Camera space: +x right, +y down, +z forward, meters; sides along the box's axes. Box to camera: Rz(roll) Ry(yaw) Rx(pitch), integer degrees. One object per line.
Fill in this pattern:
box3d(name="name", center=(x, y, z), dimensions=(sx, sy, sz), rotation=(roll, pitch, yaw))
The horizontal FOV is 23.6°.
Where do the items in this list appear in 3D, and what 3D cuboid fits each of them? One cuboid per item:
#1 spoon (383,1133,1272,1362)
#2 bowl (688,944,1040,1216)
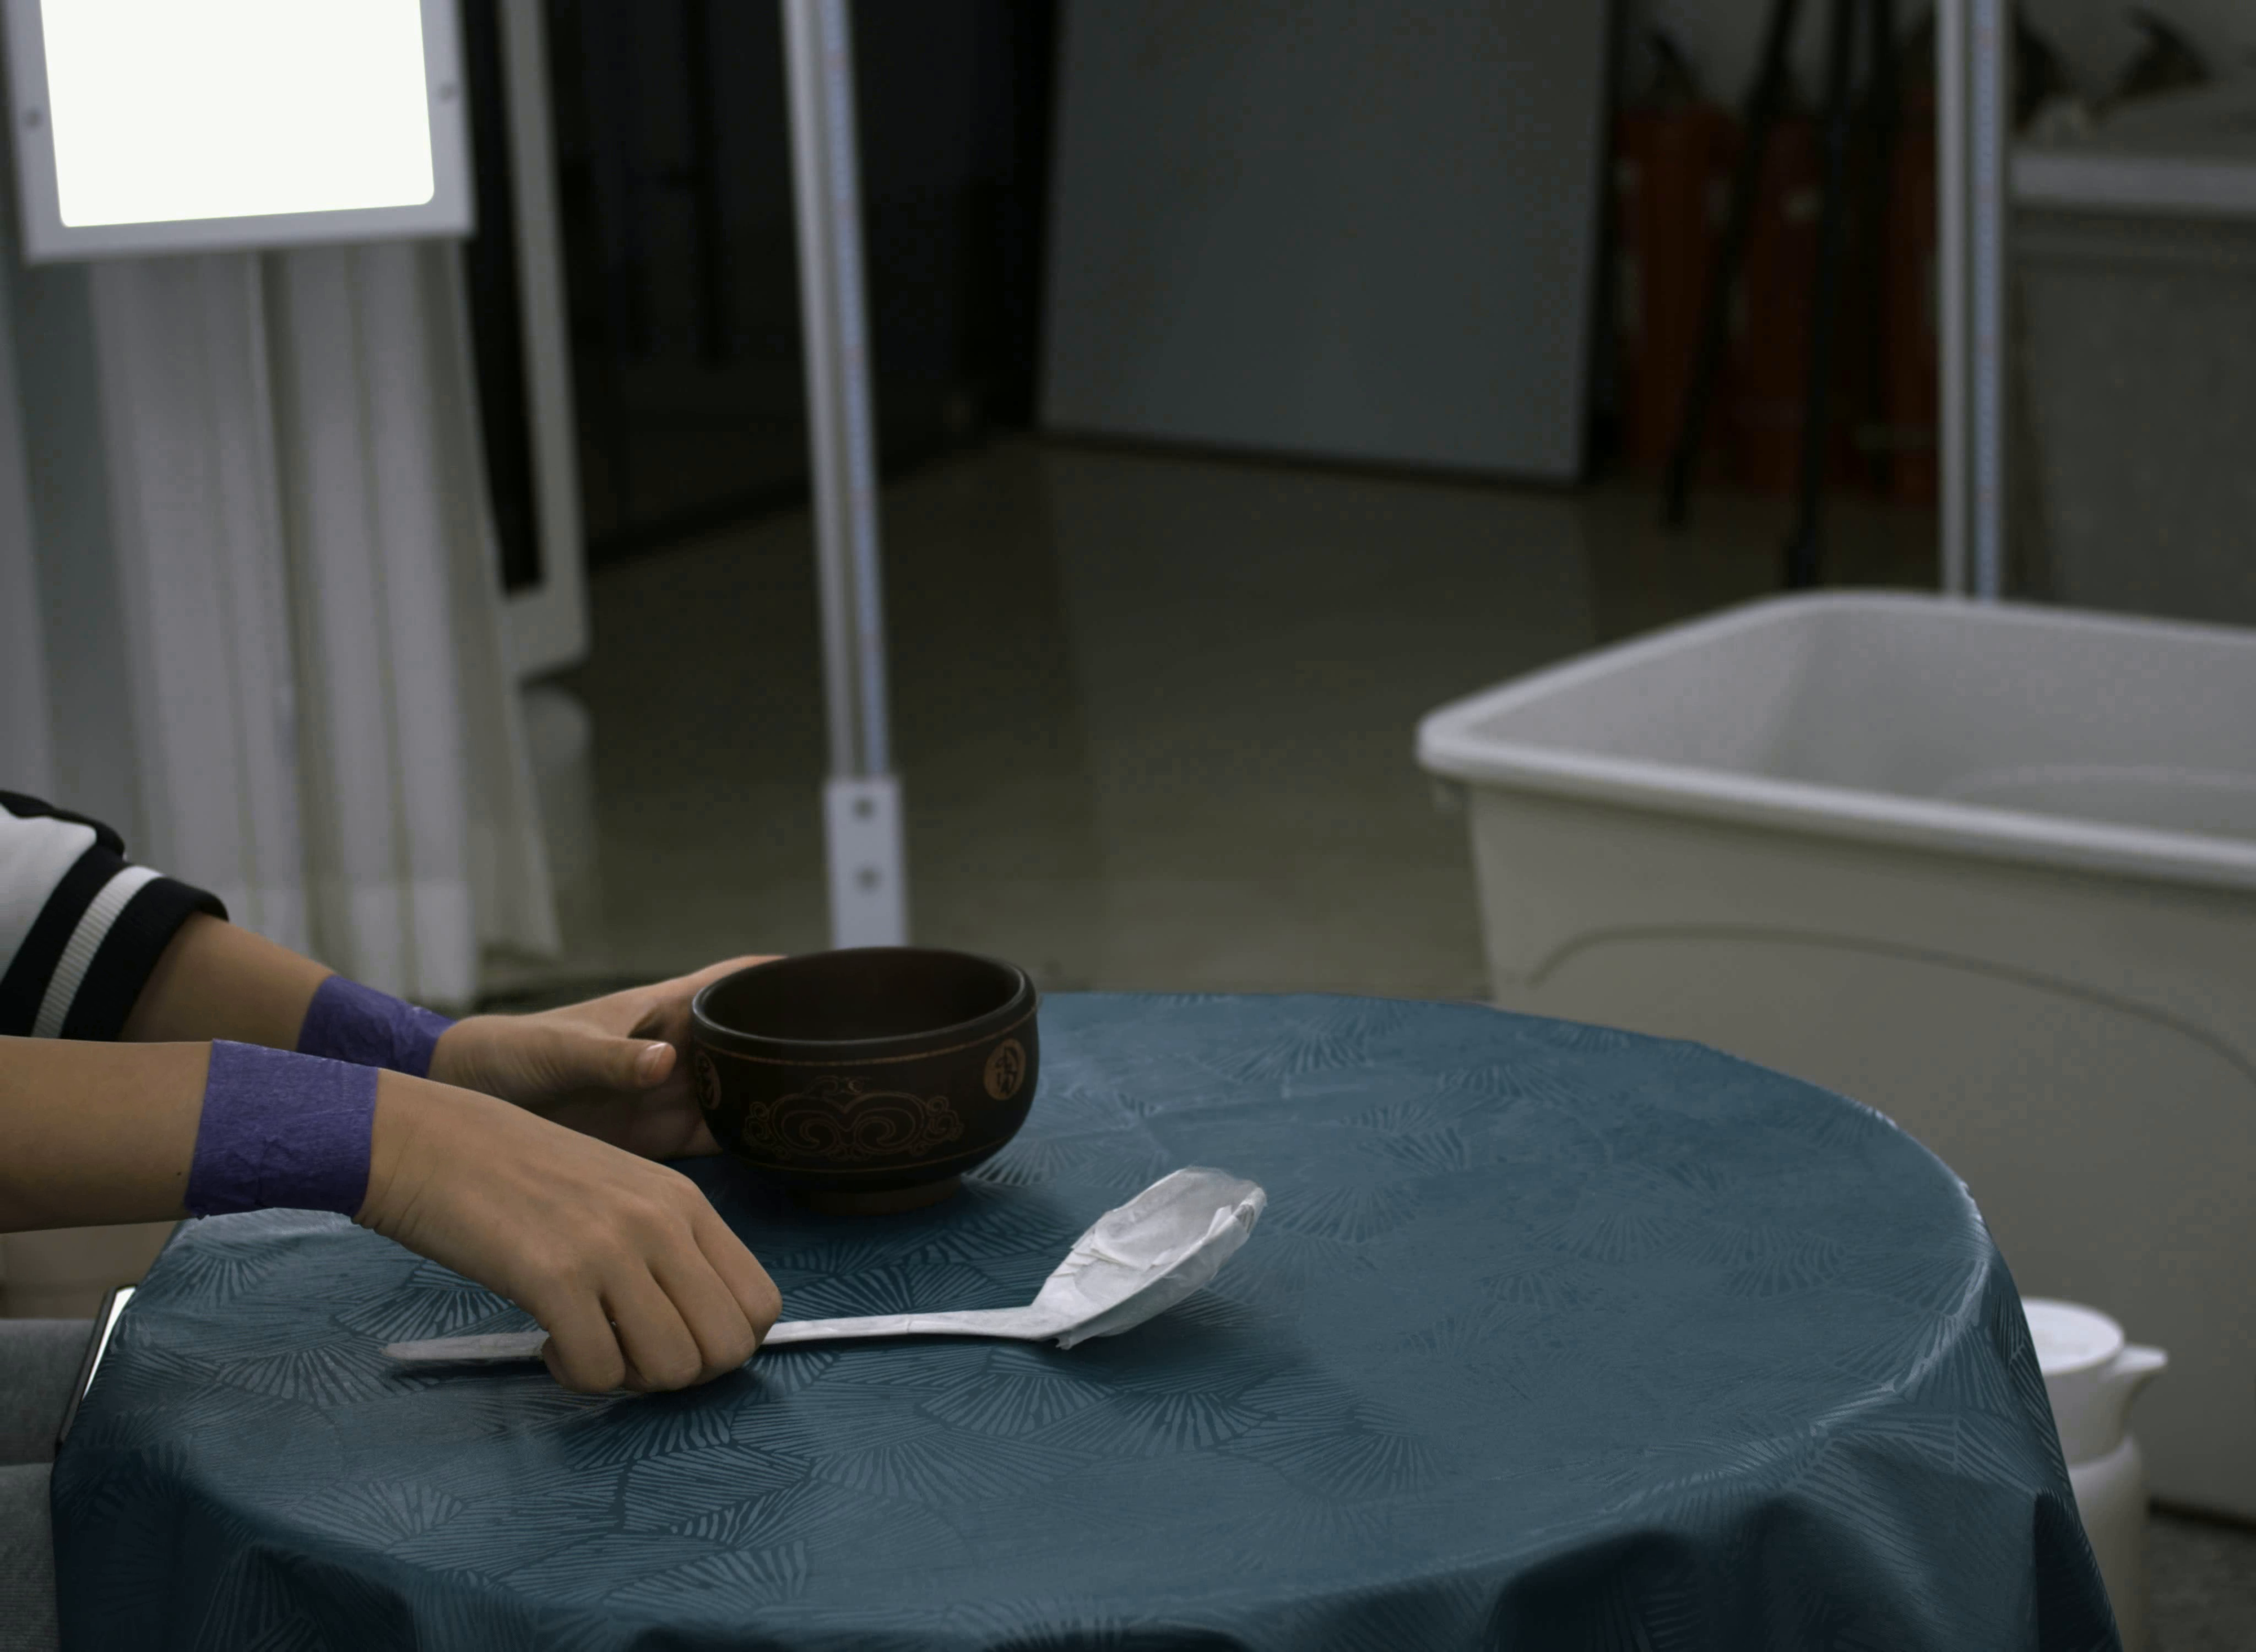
box3d(name="spoon", center=(-0.092, 0.128, 1.646), dimensions=(0.274, 0.060, 0.100), rotation=(-2, 10, 5))
box3d(name="bowl", center=(-0.086, 0.087, 1.780), dimensions=(0.116, 0.070, 0.118), rotation=(-4, 13, 0))
